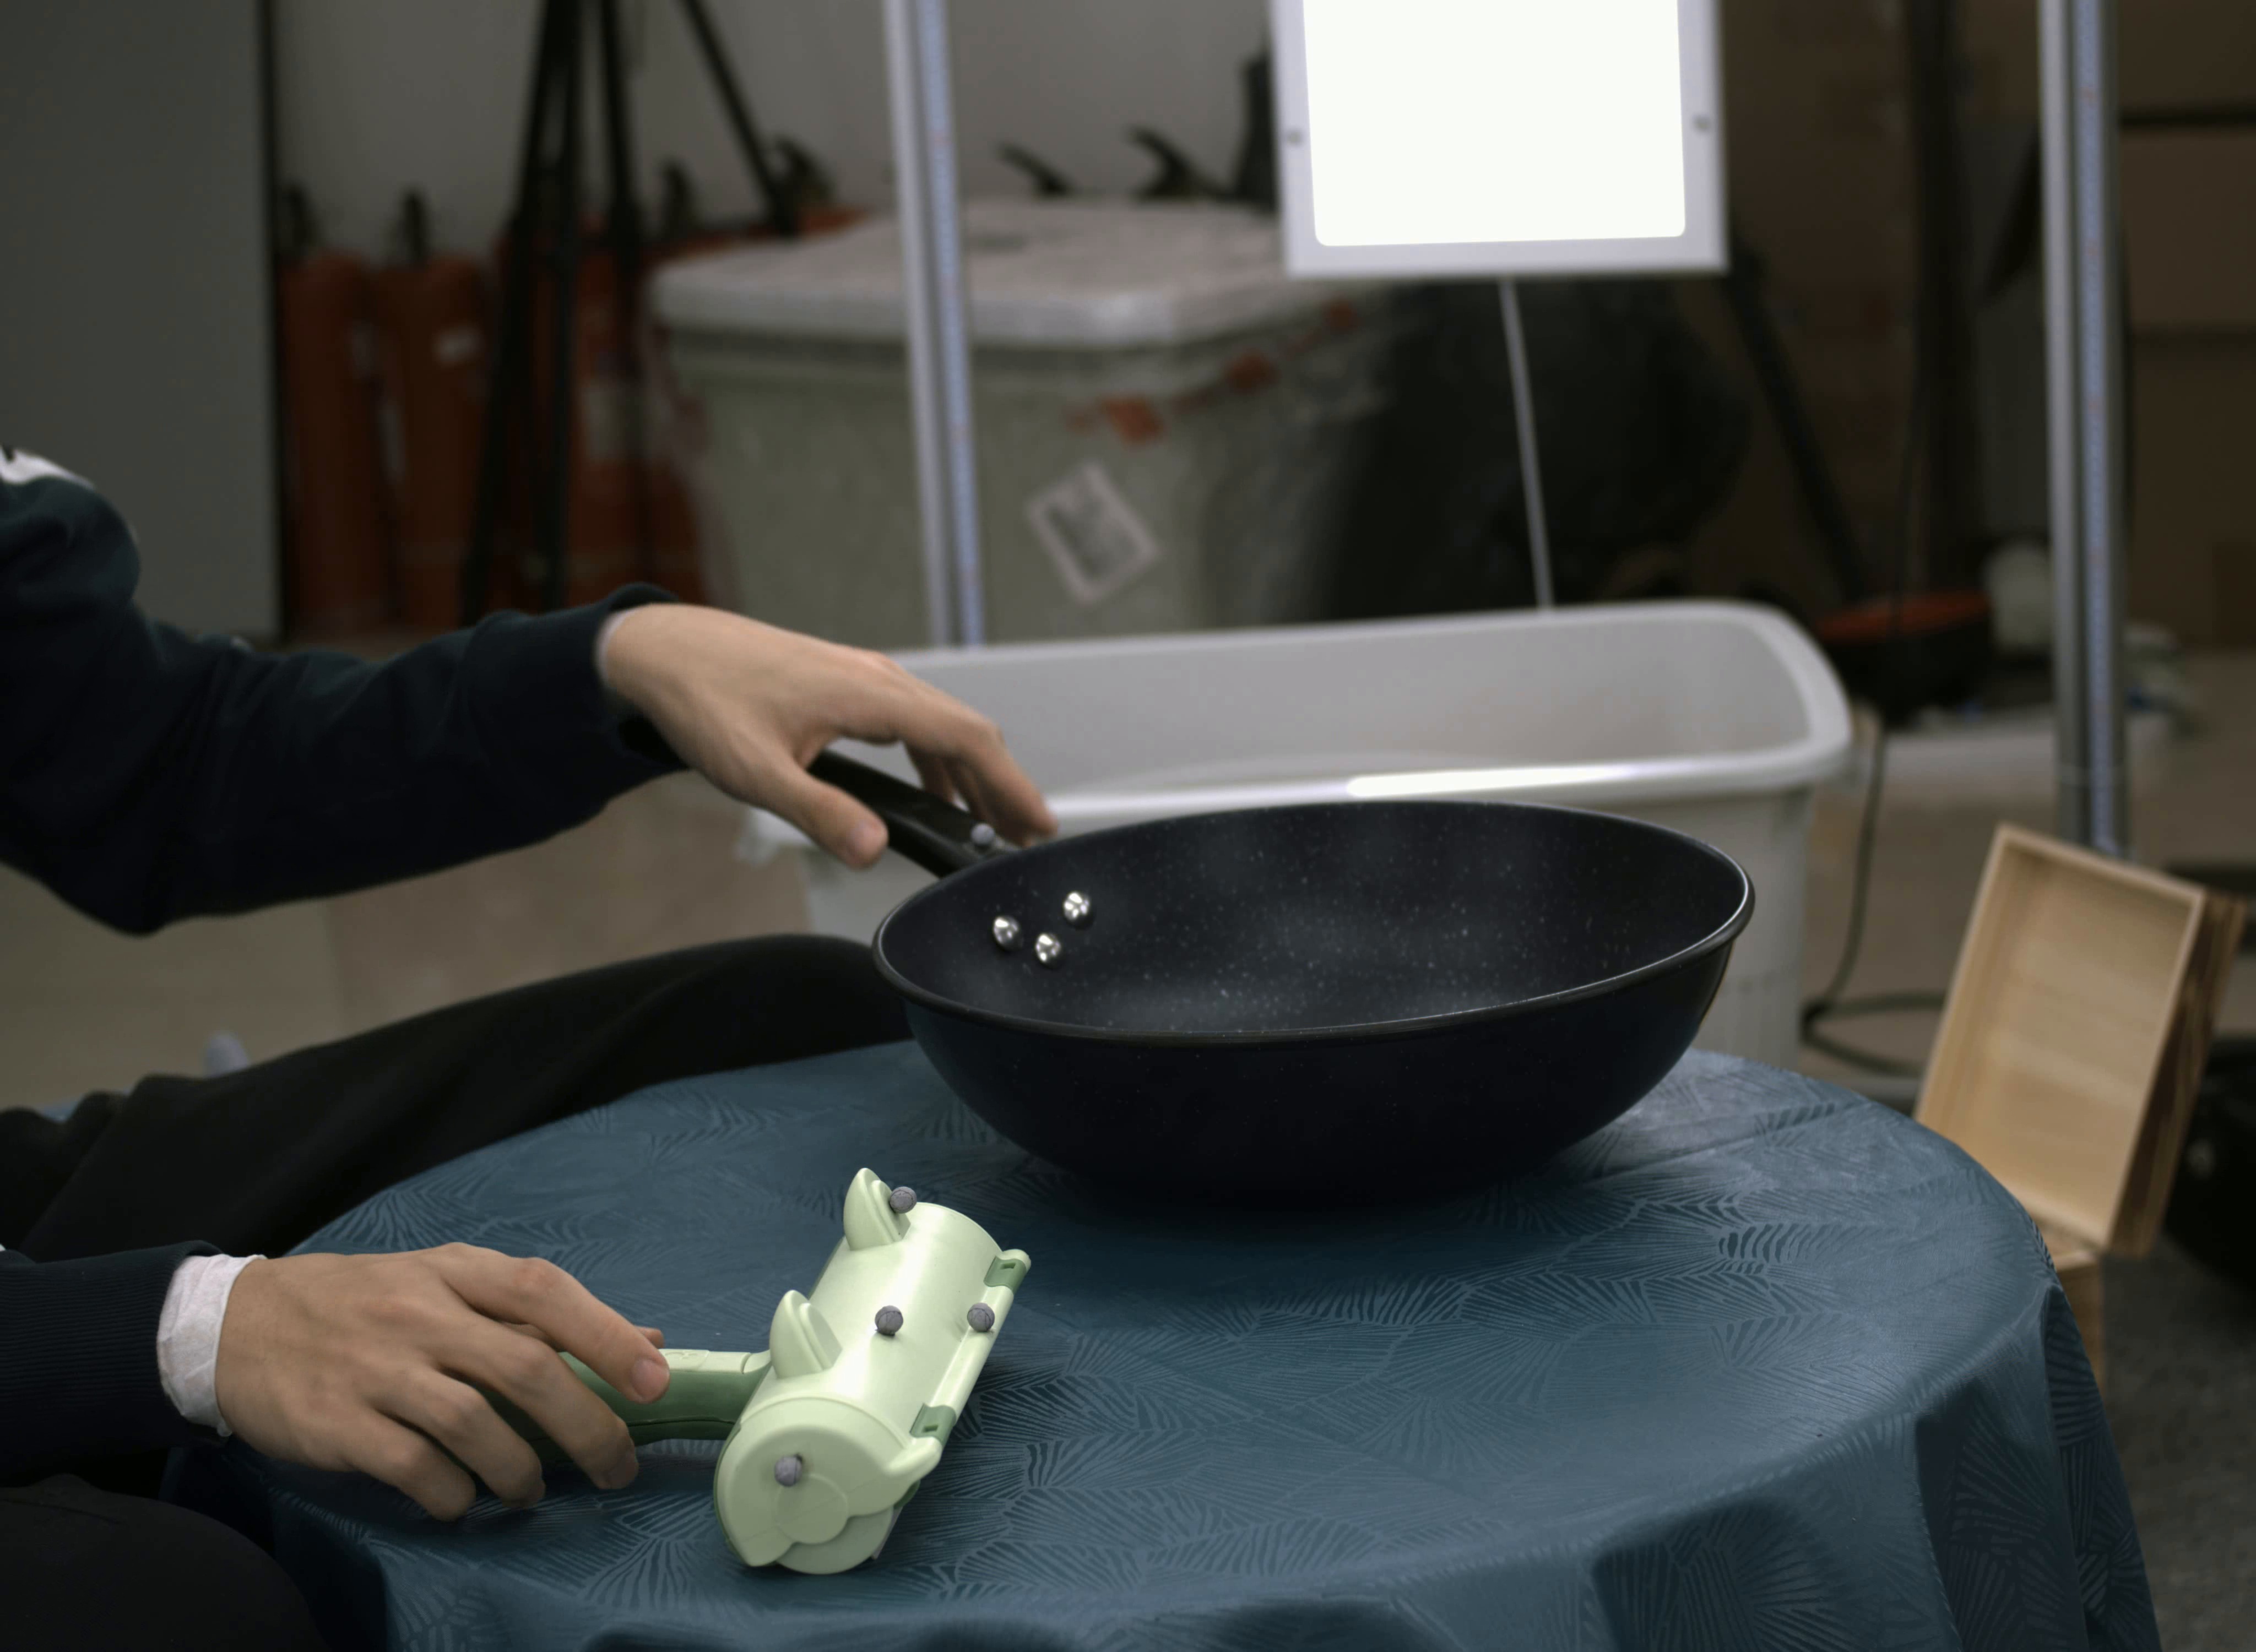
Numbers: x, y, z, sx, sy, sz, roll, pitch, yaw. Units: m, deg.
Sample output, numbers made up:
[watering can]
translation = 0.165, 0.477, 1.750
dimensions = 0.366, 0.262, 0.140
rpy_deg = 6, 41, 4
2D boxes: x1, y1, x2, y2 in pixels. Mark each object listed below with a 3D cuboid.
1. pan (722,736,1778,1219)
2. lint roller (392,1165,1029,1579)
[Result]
[pan]
translation = 0.015, 0.050, 1.978
dimensions = 0.302, 0.112, 0.487
rpy_deg = -15, 17, -40
[lint roller]
translation = -0.133, 0.157, 1.661
dimensions = 0.184, 0.082, 0.196
rpy_deg = 2, 15, 9
